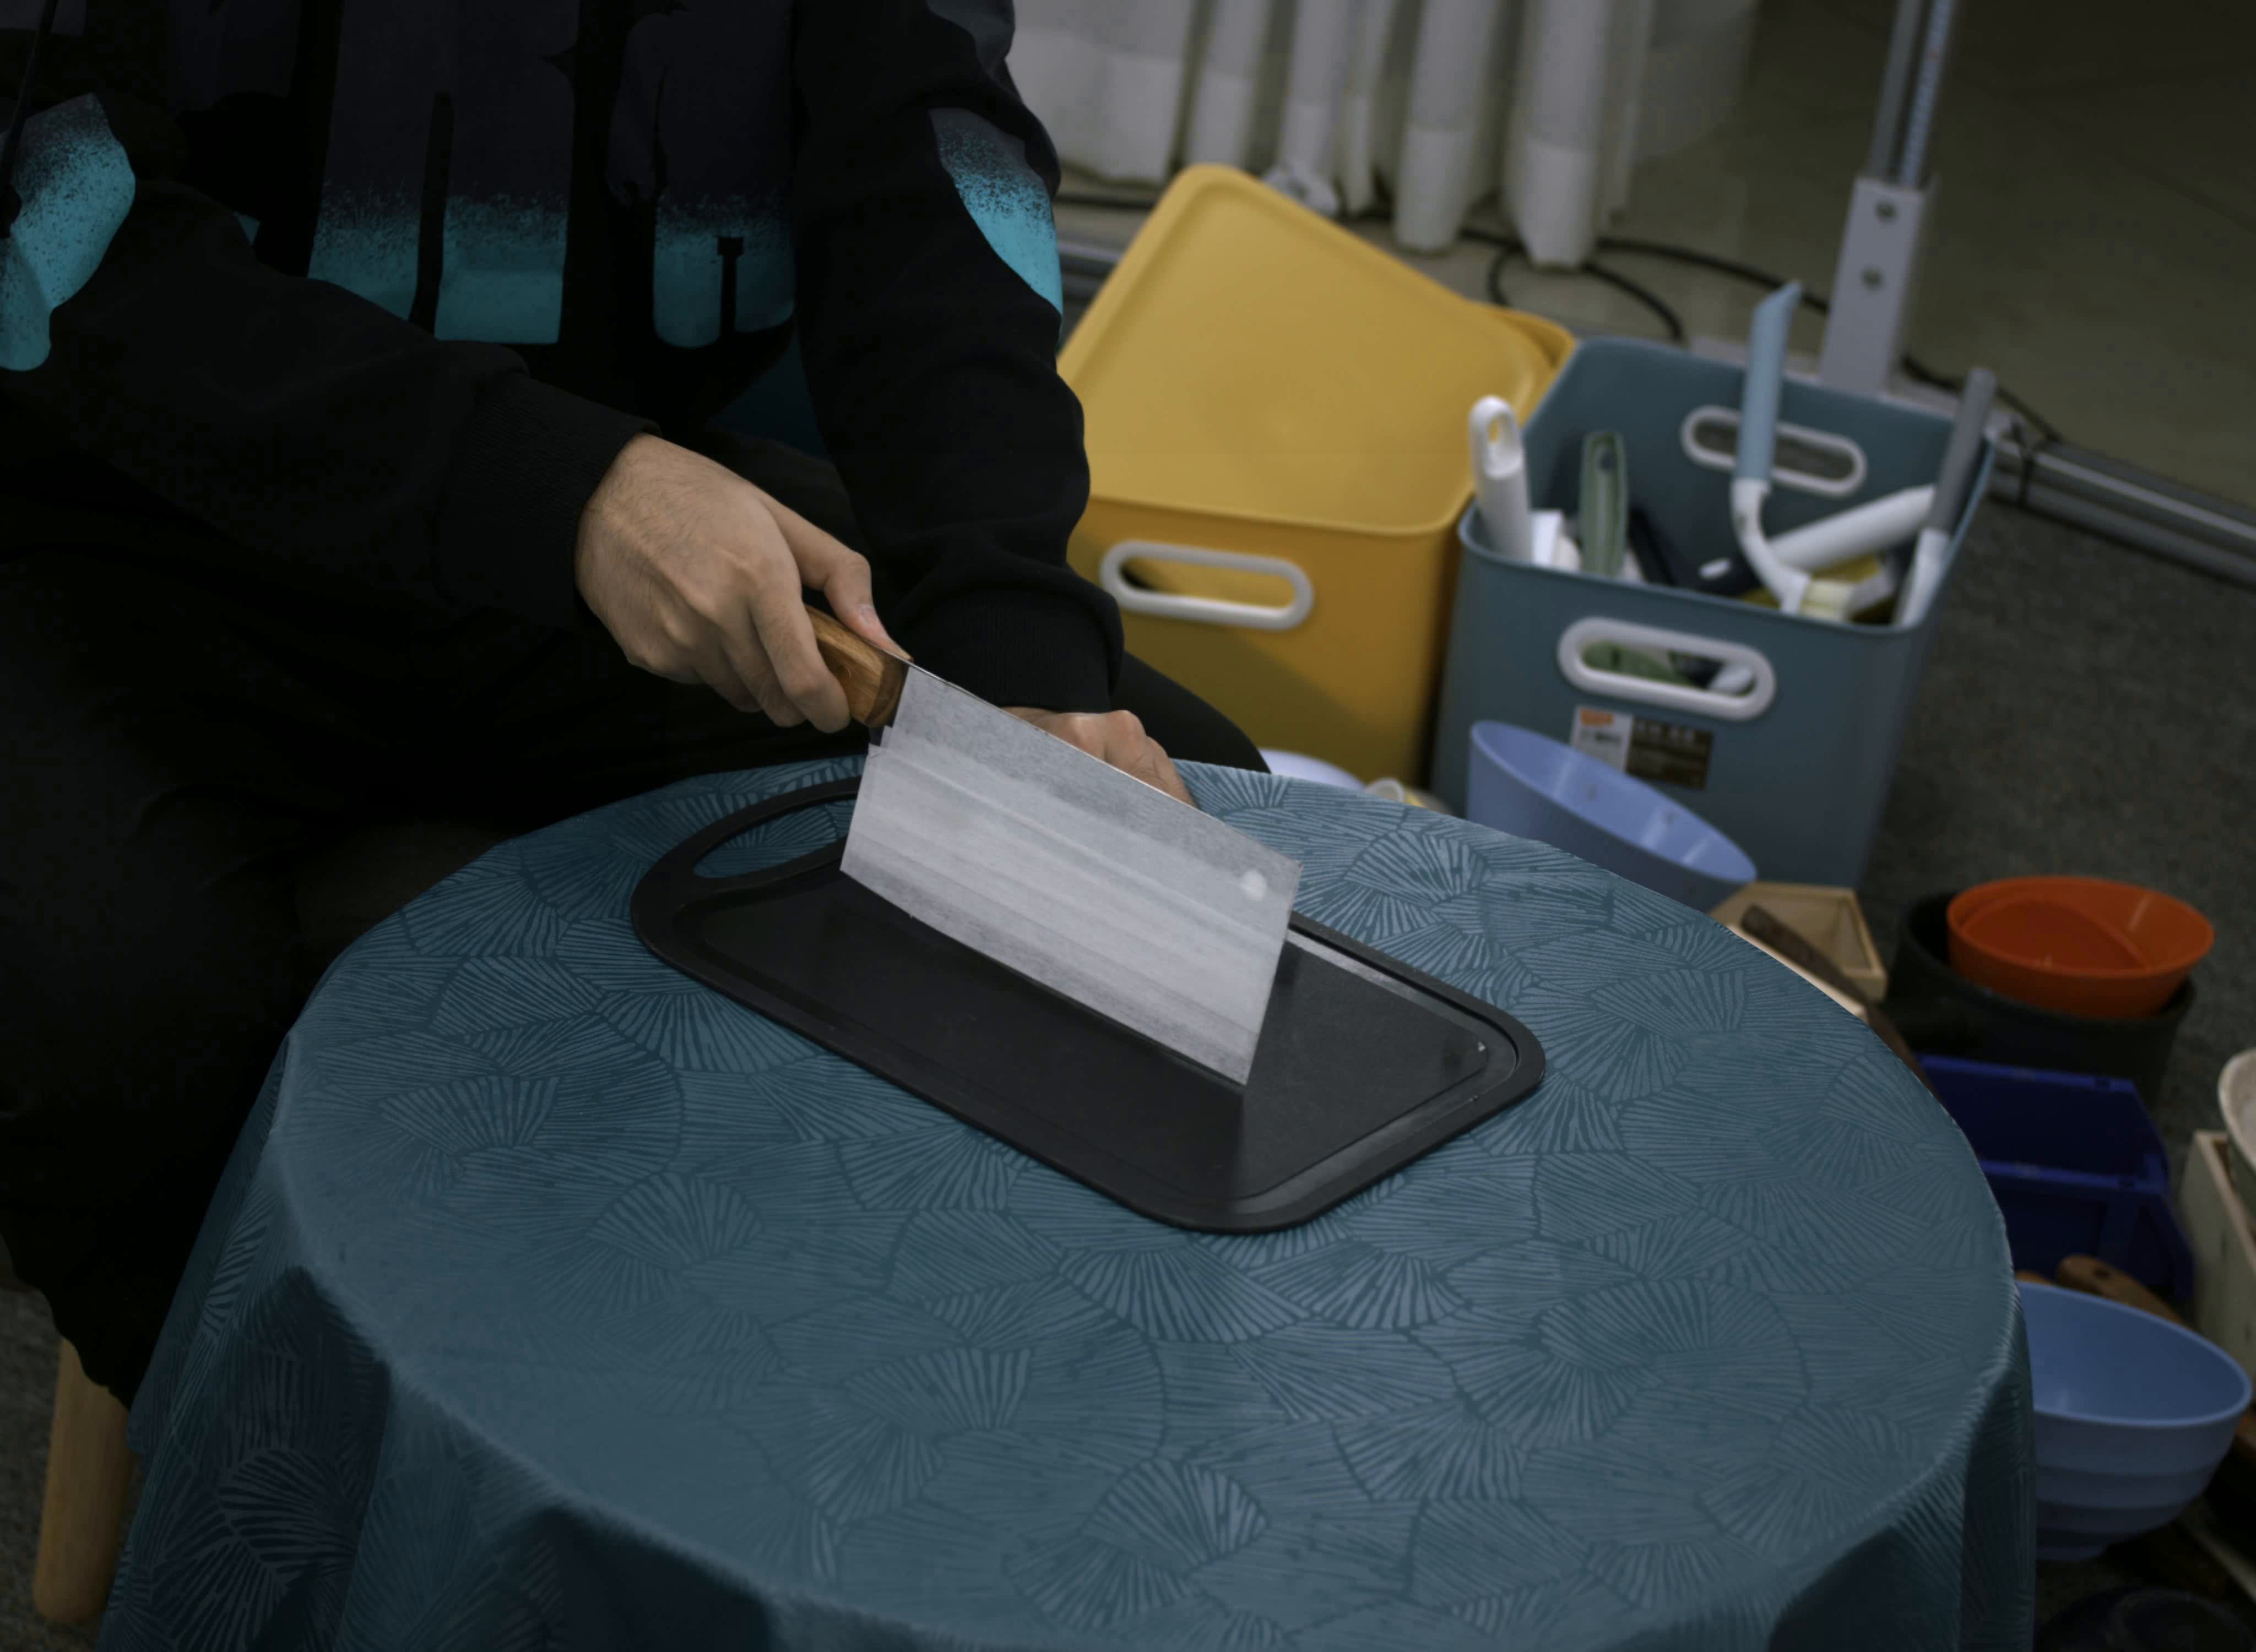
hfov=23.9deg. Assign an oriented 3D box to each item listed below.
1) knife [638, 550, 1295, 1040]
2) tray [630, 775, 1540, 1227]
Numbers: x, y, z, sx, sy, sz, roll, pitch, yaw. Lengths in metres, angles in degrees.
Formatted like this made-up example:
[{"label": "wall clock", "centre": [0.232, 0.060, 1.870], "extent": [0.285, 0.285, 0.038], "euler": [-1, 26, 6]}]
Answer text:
[{"label": "knife", "centre": [-0.066, -0.009, 1.925], "extent": [0.308, 0.093, 0.021], "euler": [27, 25, 30]}, {"label": "tray", "centre": [-0.024, 0.053, 1.927], "extent": [0.327, 0.010, 0.210], "euler": [26, 33, 33]}]
